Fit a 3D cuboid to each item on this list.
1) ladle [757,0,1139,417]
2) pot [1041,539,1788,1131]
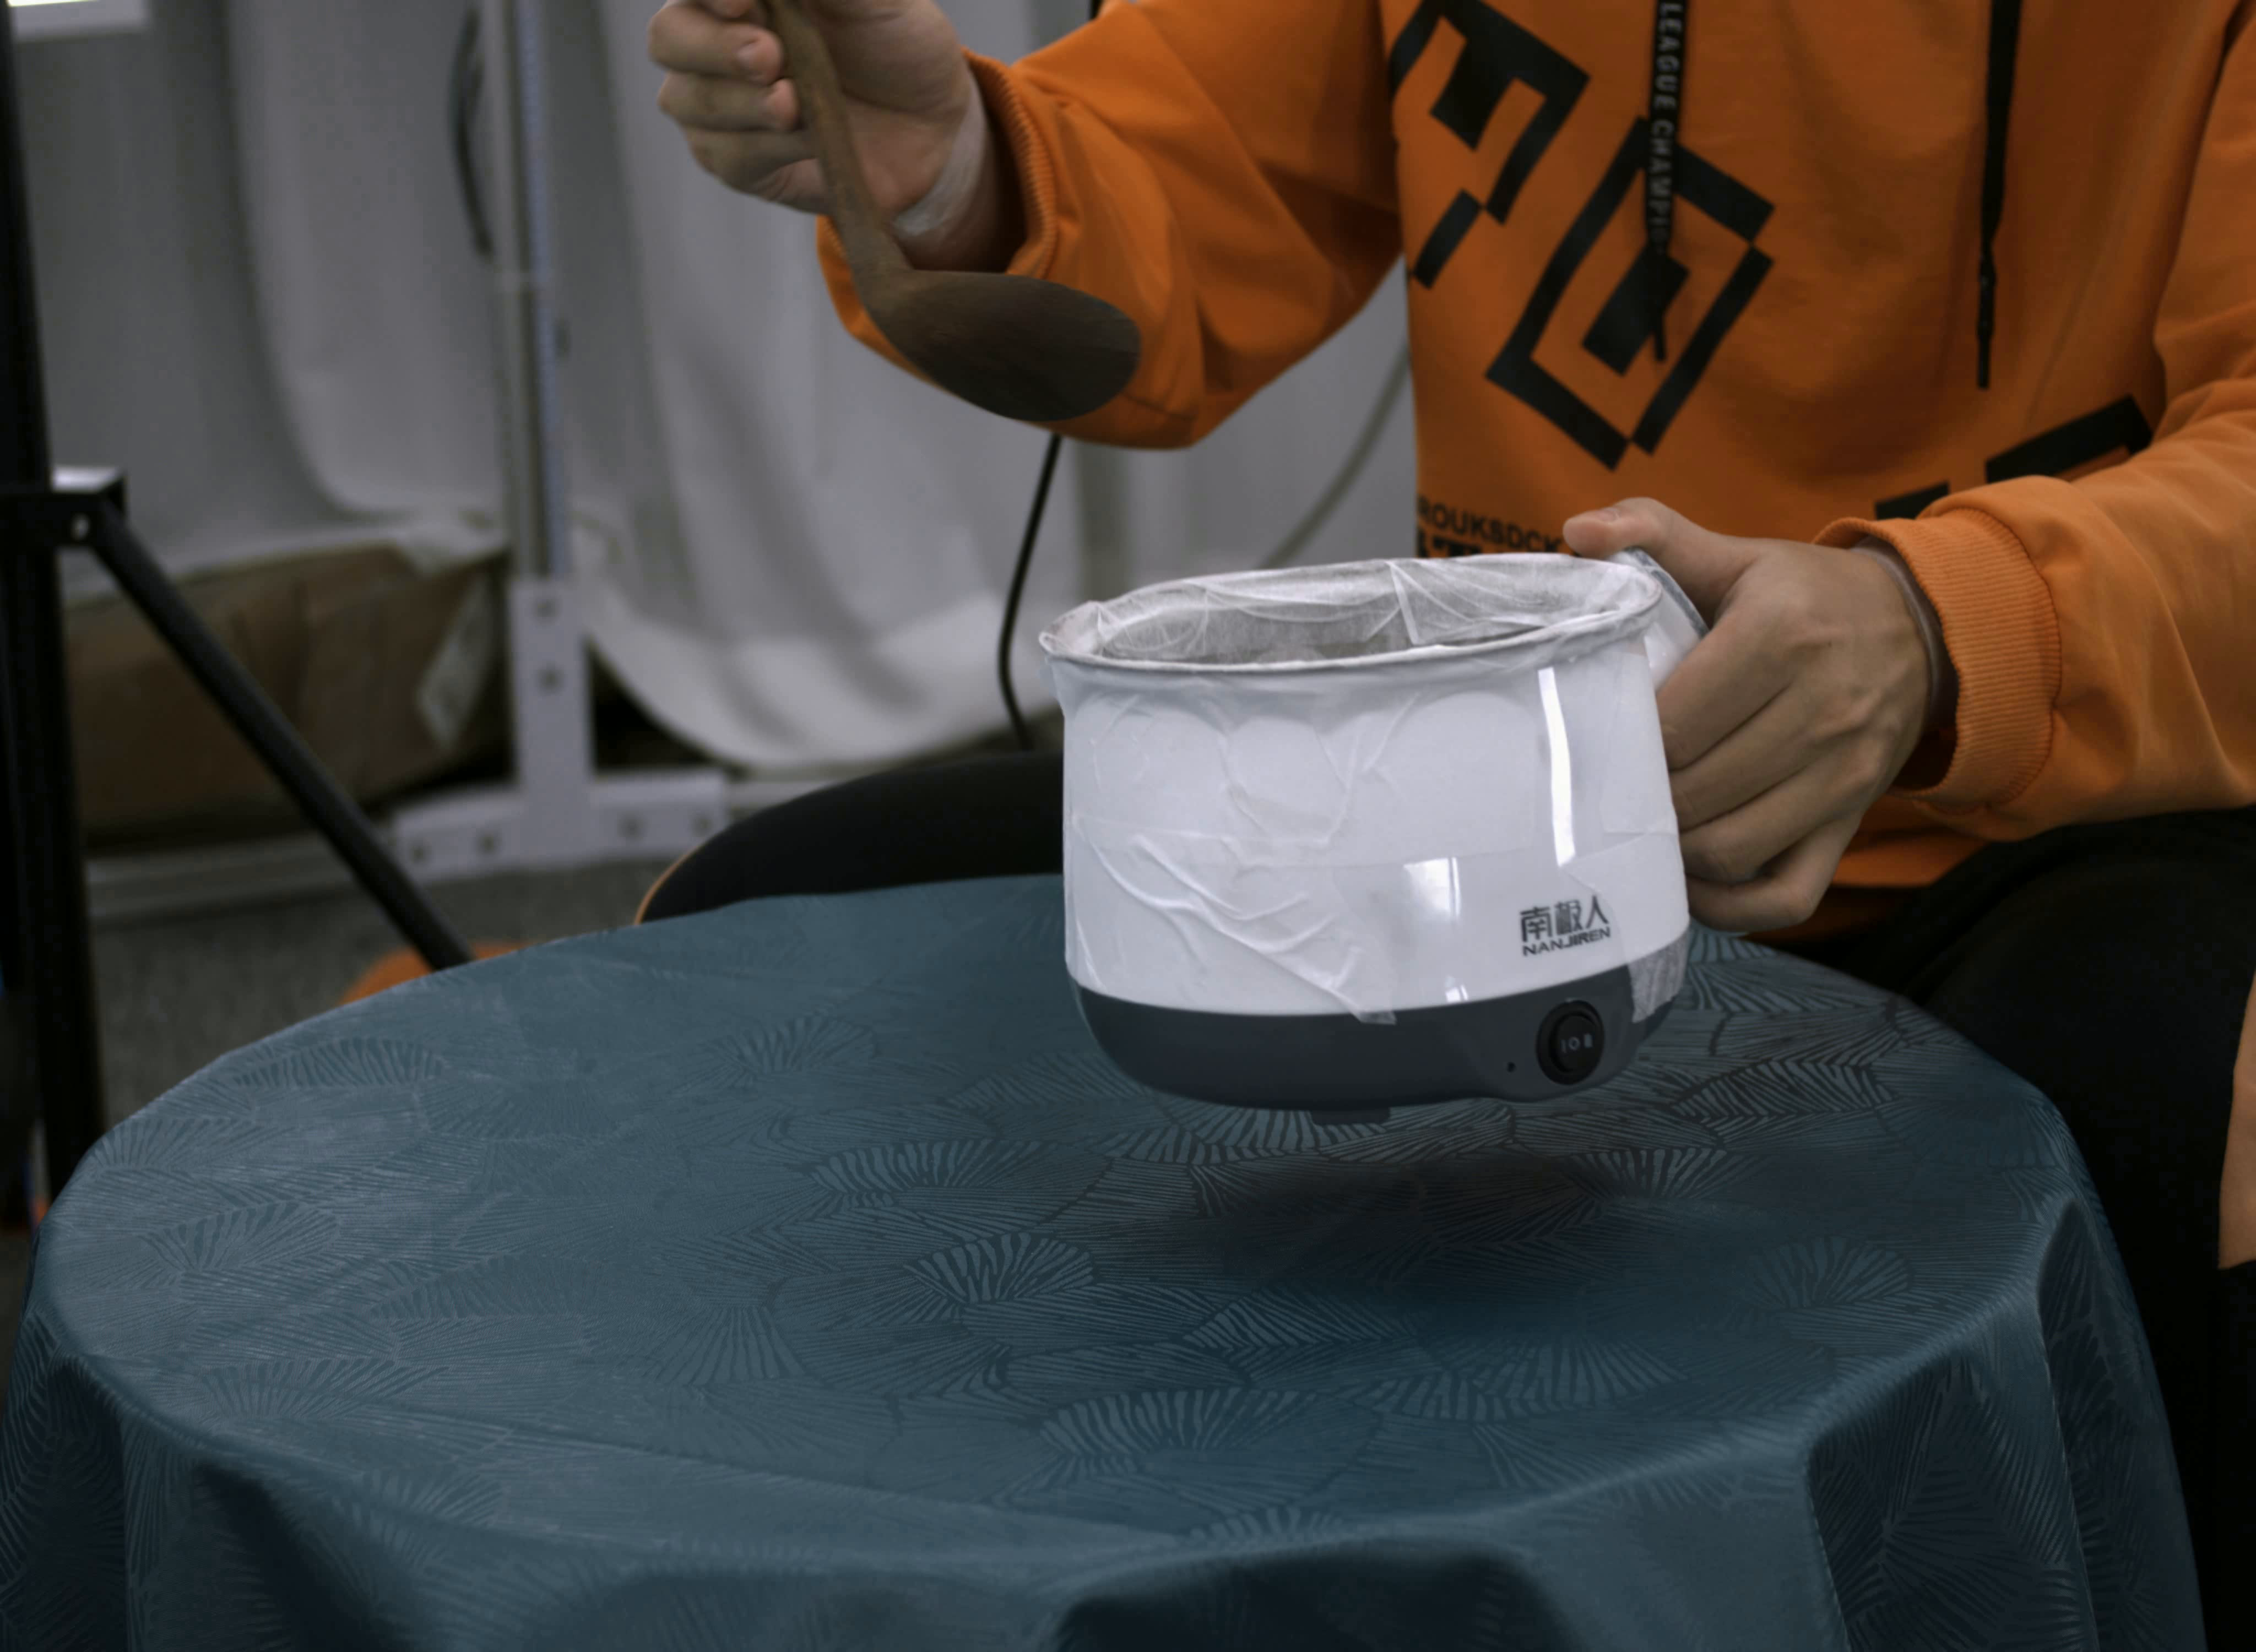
[{"bbox_3d":[-0.078,-0.223,1.580,0.071,0.074,0.279,-35,55,11],"label":"ladle"},{"bbox_3d":[0.091,-0.003,1.515,0.228,0.137,0.182,-12,13,-33],"label":"pot"}]
